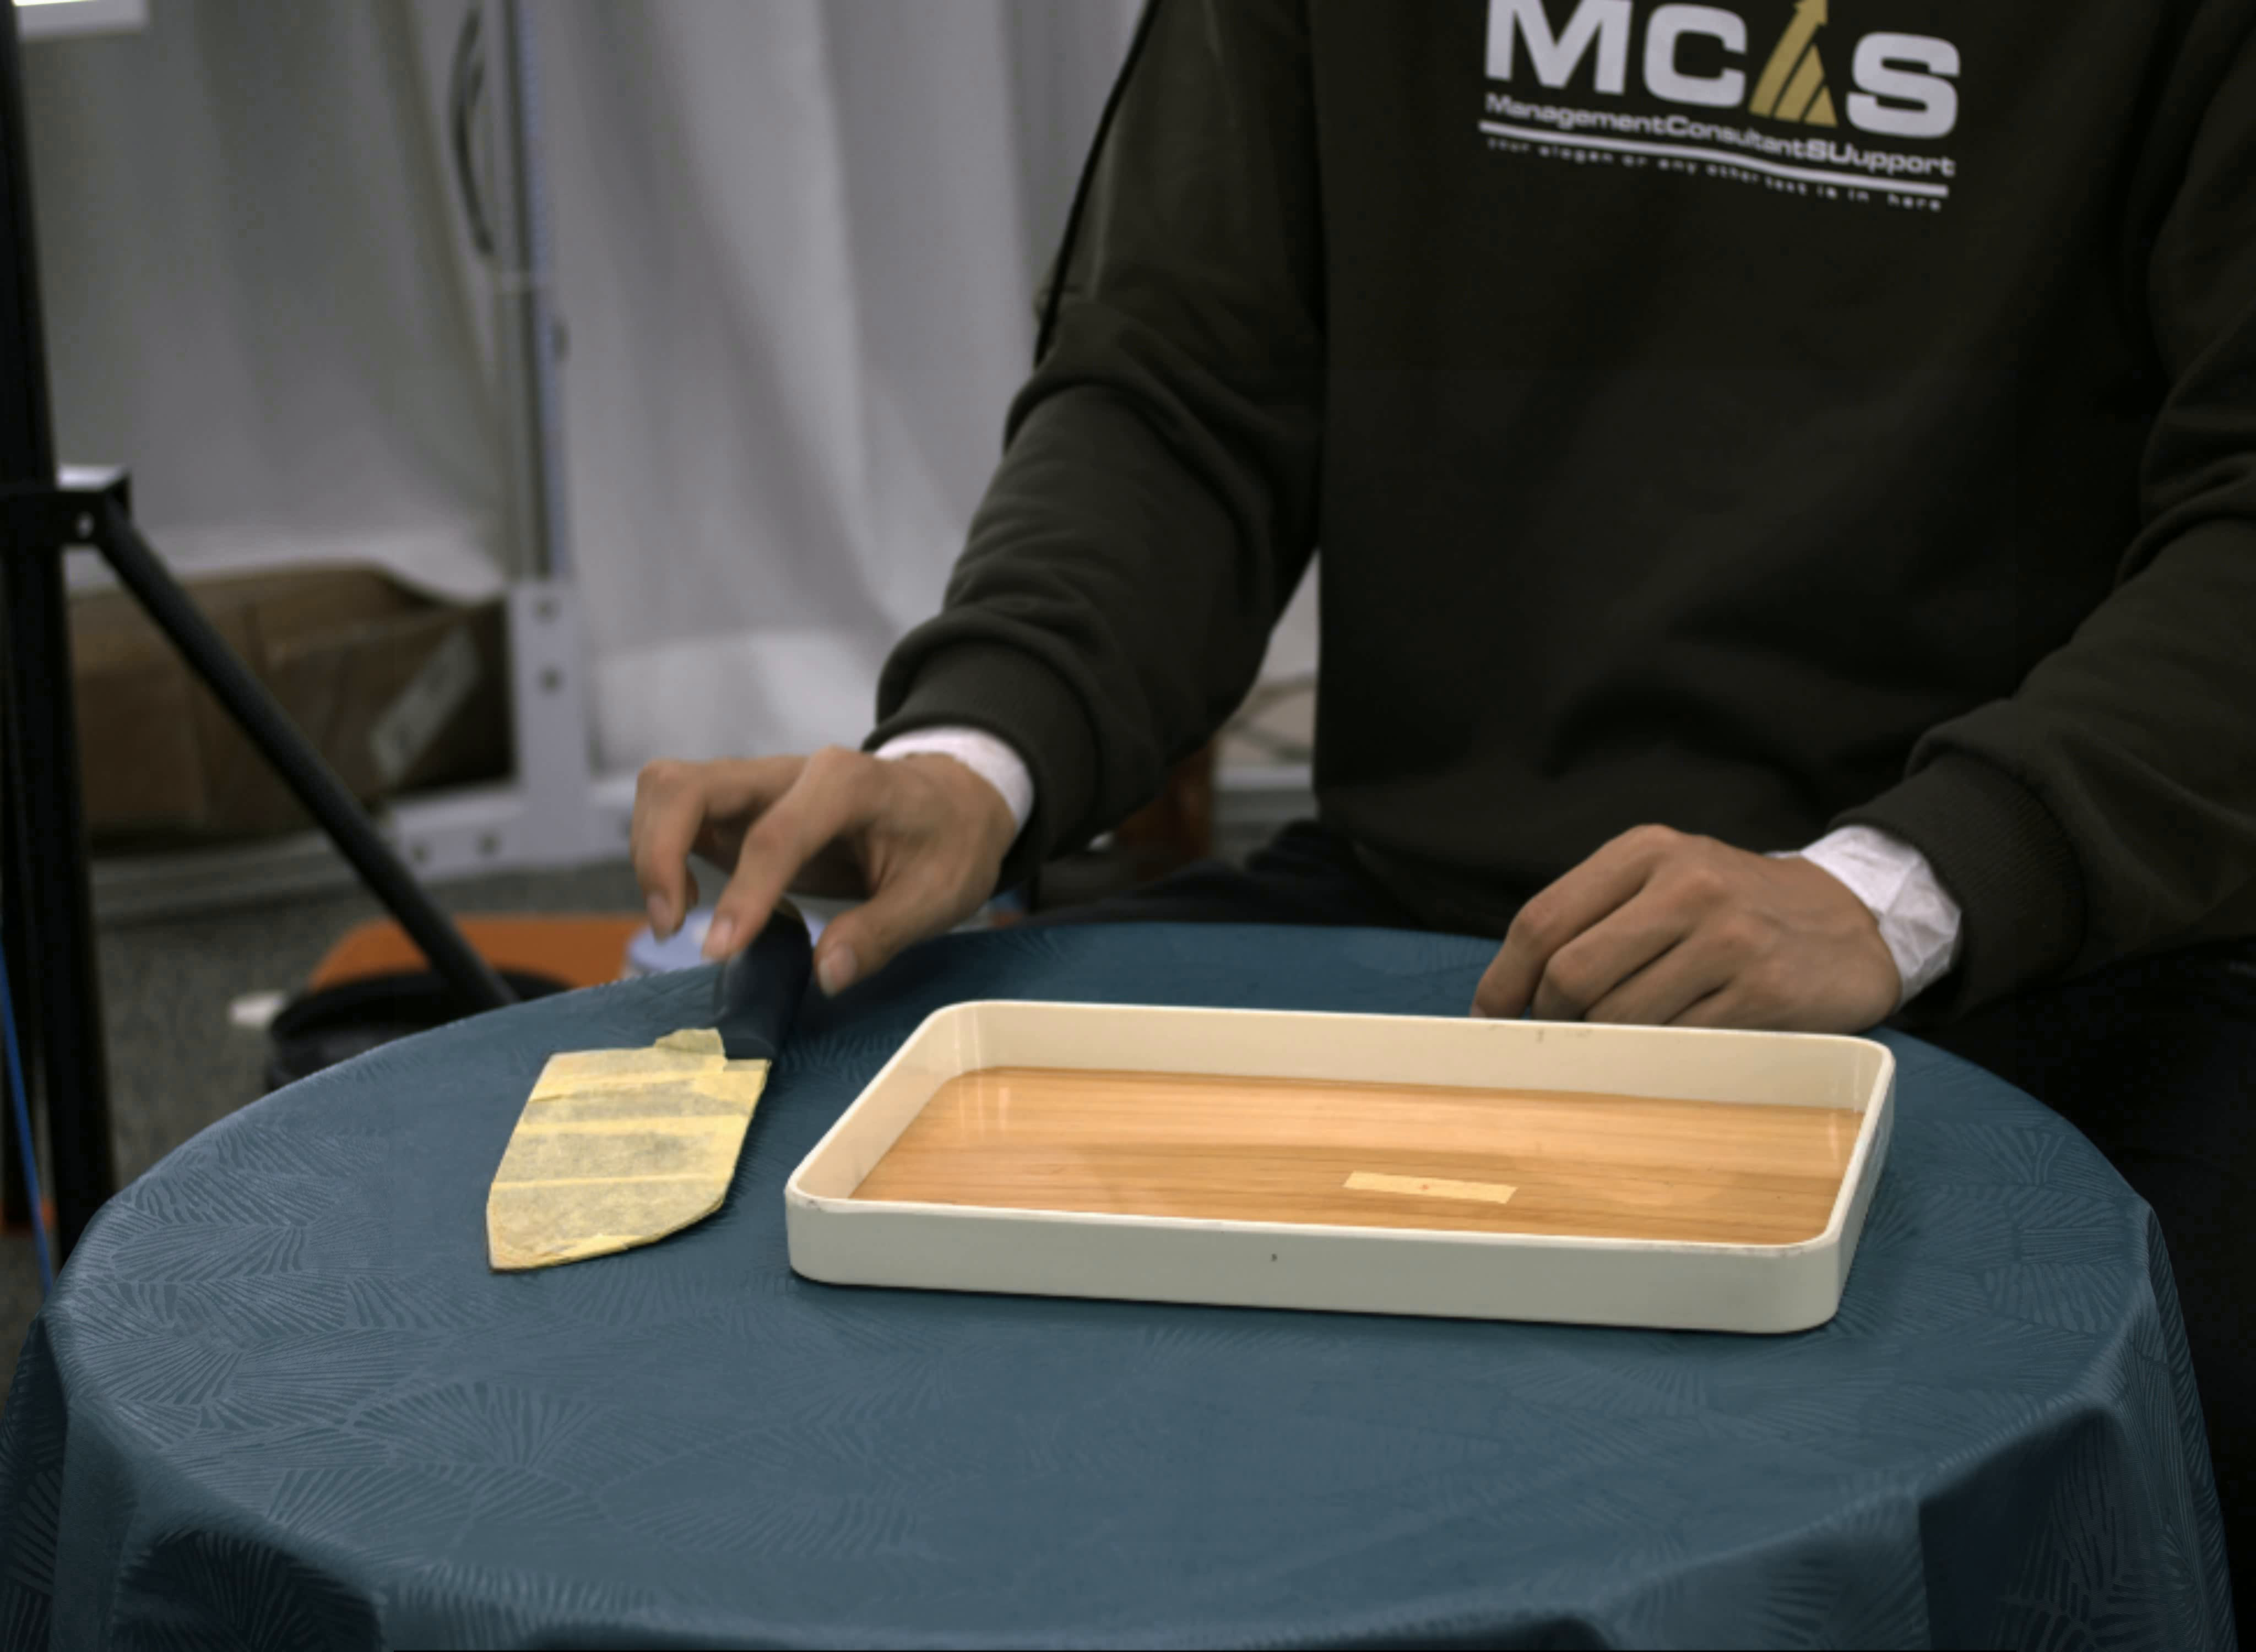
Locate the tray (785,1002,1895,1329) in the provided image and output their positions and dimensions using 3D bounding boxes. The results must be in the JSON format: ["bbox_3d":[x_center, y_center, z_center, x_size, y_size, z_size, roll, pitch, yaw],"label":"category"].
[{"bbox_3d":[0.066,0.097,1.543,0.302,0.027,0.190,2,15,15],"label":"tray"}]

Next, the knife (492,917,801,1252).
[{"bbox_3d":[-0.146,0.080,1.656,0.081,0.027,0.289,0,17,7],"label":"knife"}]
